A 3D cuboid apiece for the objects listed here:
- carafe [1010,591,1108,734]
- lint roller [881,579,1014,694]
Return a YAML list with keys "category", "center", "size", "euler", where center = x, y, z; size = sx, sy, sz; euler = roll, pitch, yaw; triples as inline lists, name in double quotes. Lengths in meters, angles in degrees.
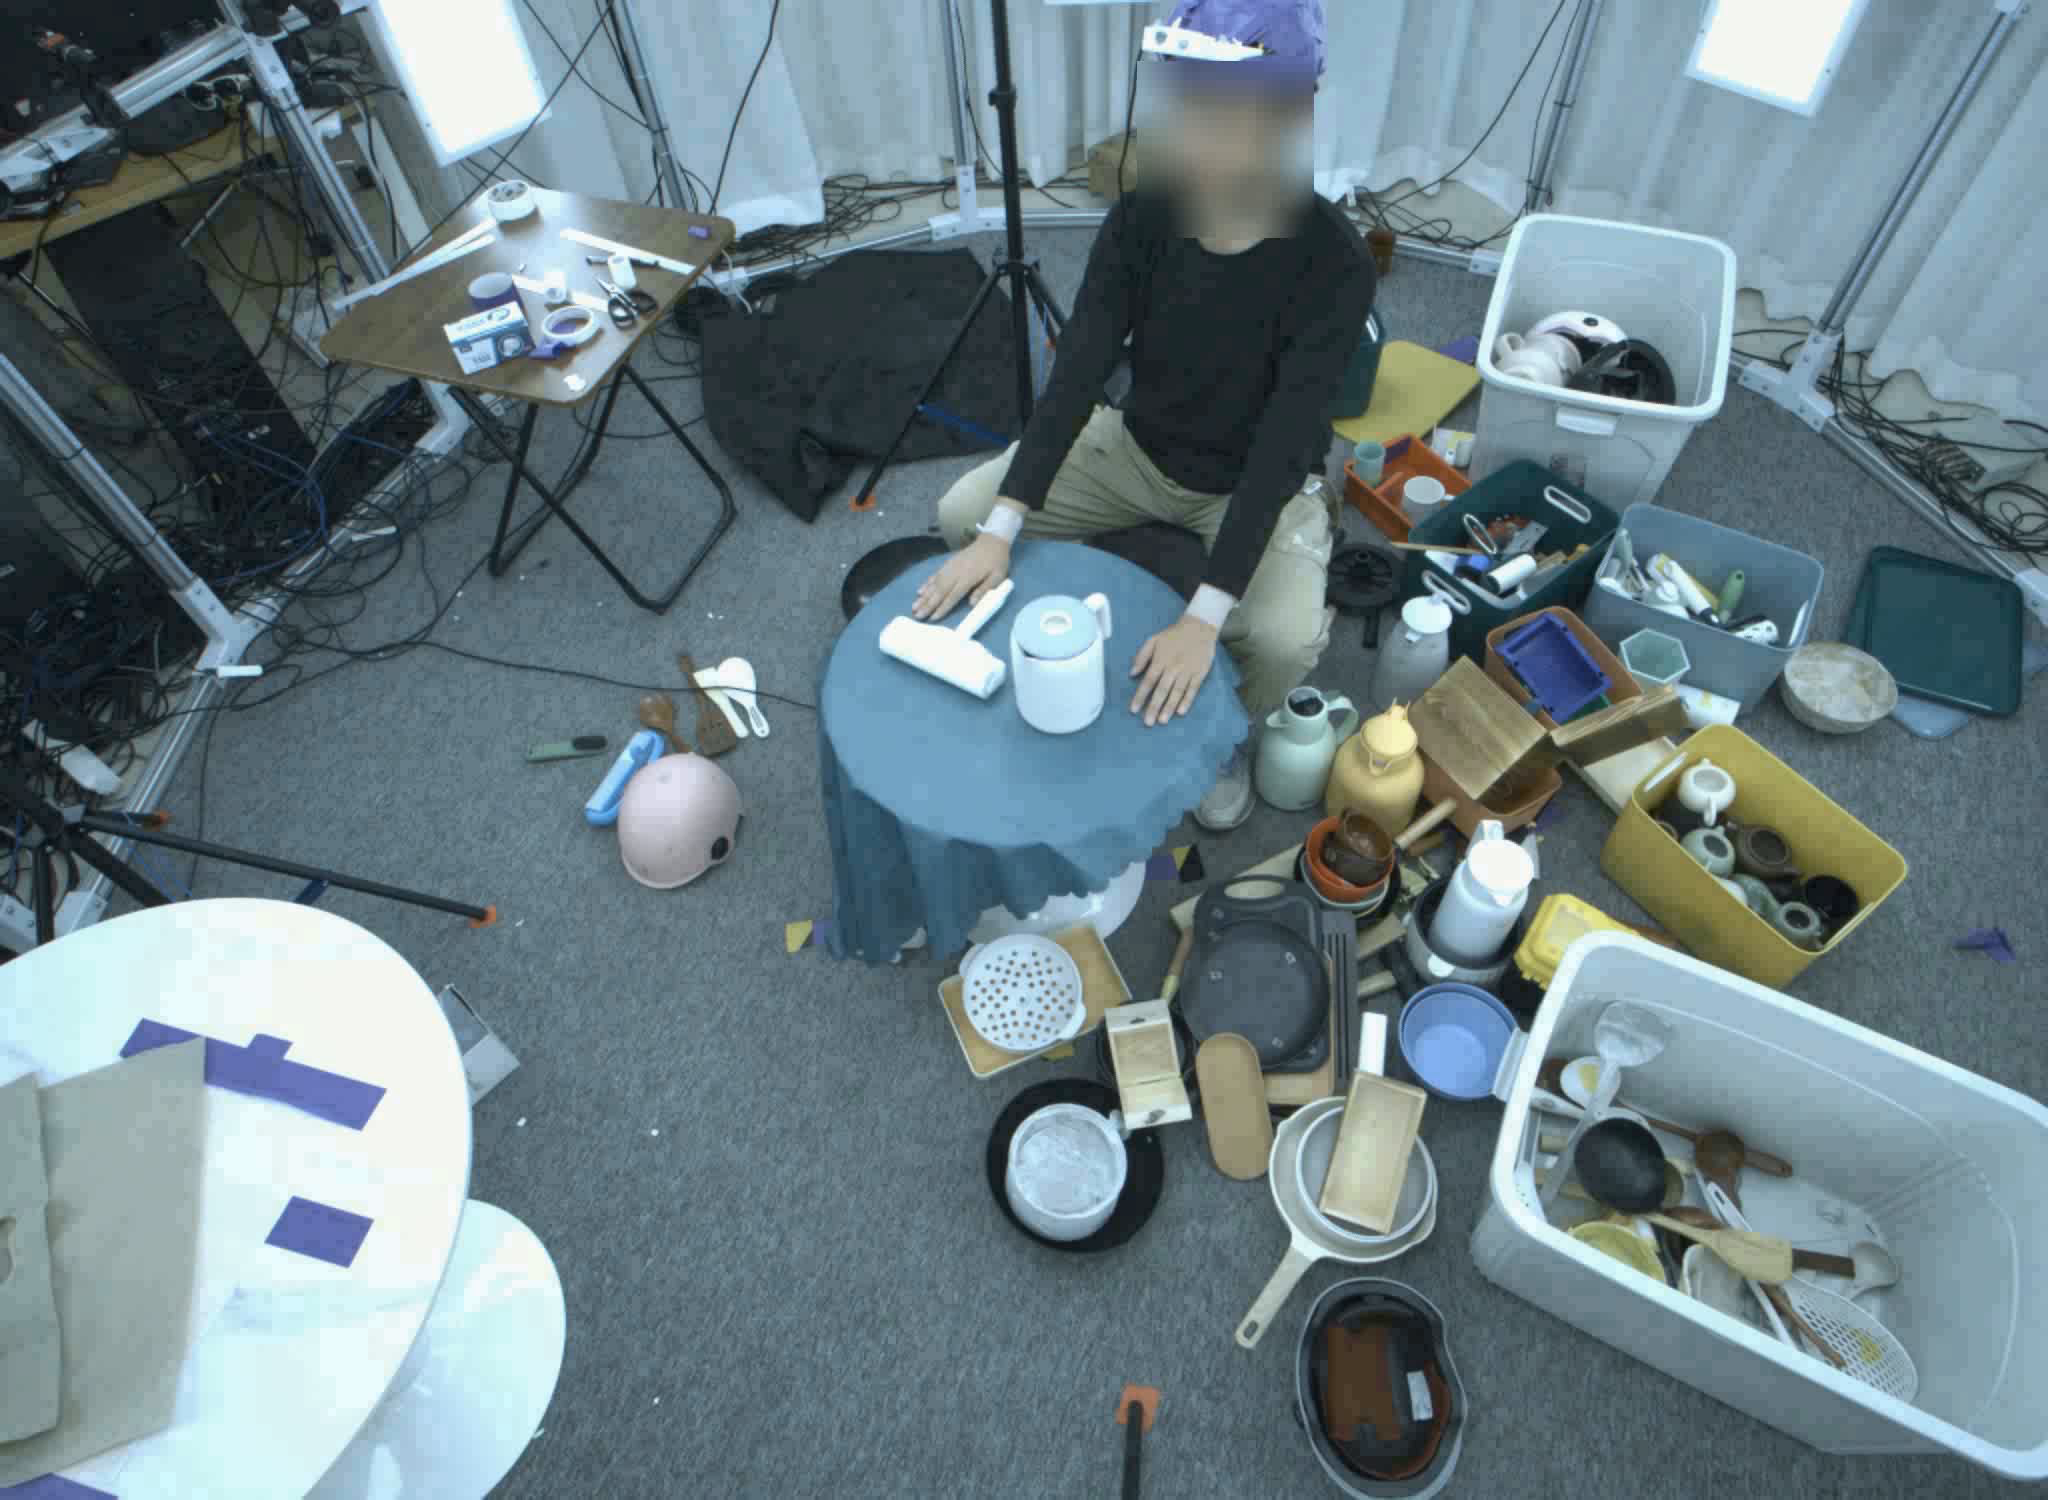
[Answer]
- category: "carafe"
  center: [0.063, -0.138, 1.778]
  size: [0.130, 0.184, 0.192]
  euler: [30, 59, 22]
- category: "lint roller"
  center: [-0.082, -0.199, 1.905]
  size: [0.200, 0.049, 0.226]
  euler: [25, 58, 20]
